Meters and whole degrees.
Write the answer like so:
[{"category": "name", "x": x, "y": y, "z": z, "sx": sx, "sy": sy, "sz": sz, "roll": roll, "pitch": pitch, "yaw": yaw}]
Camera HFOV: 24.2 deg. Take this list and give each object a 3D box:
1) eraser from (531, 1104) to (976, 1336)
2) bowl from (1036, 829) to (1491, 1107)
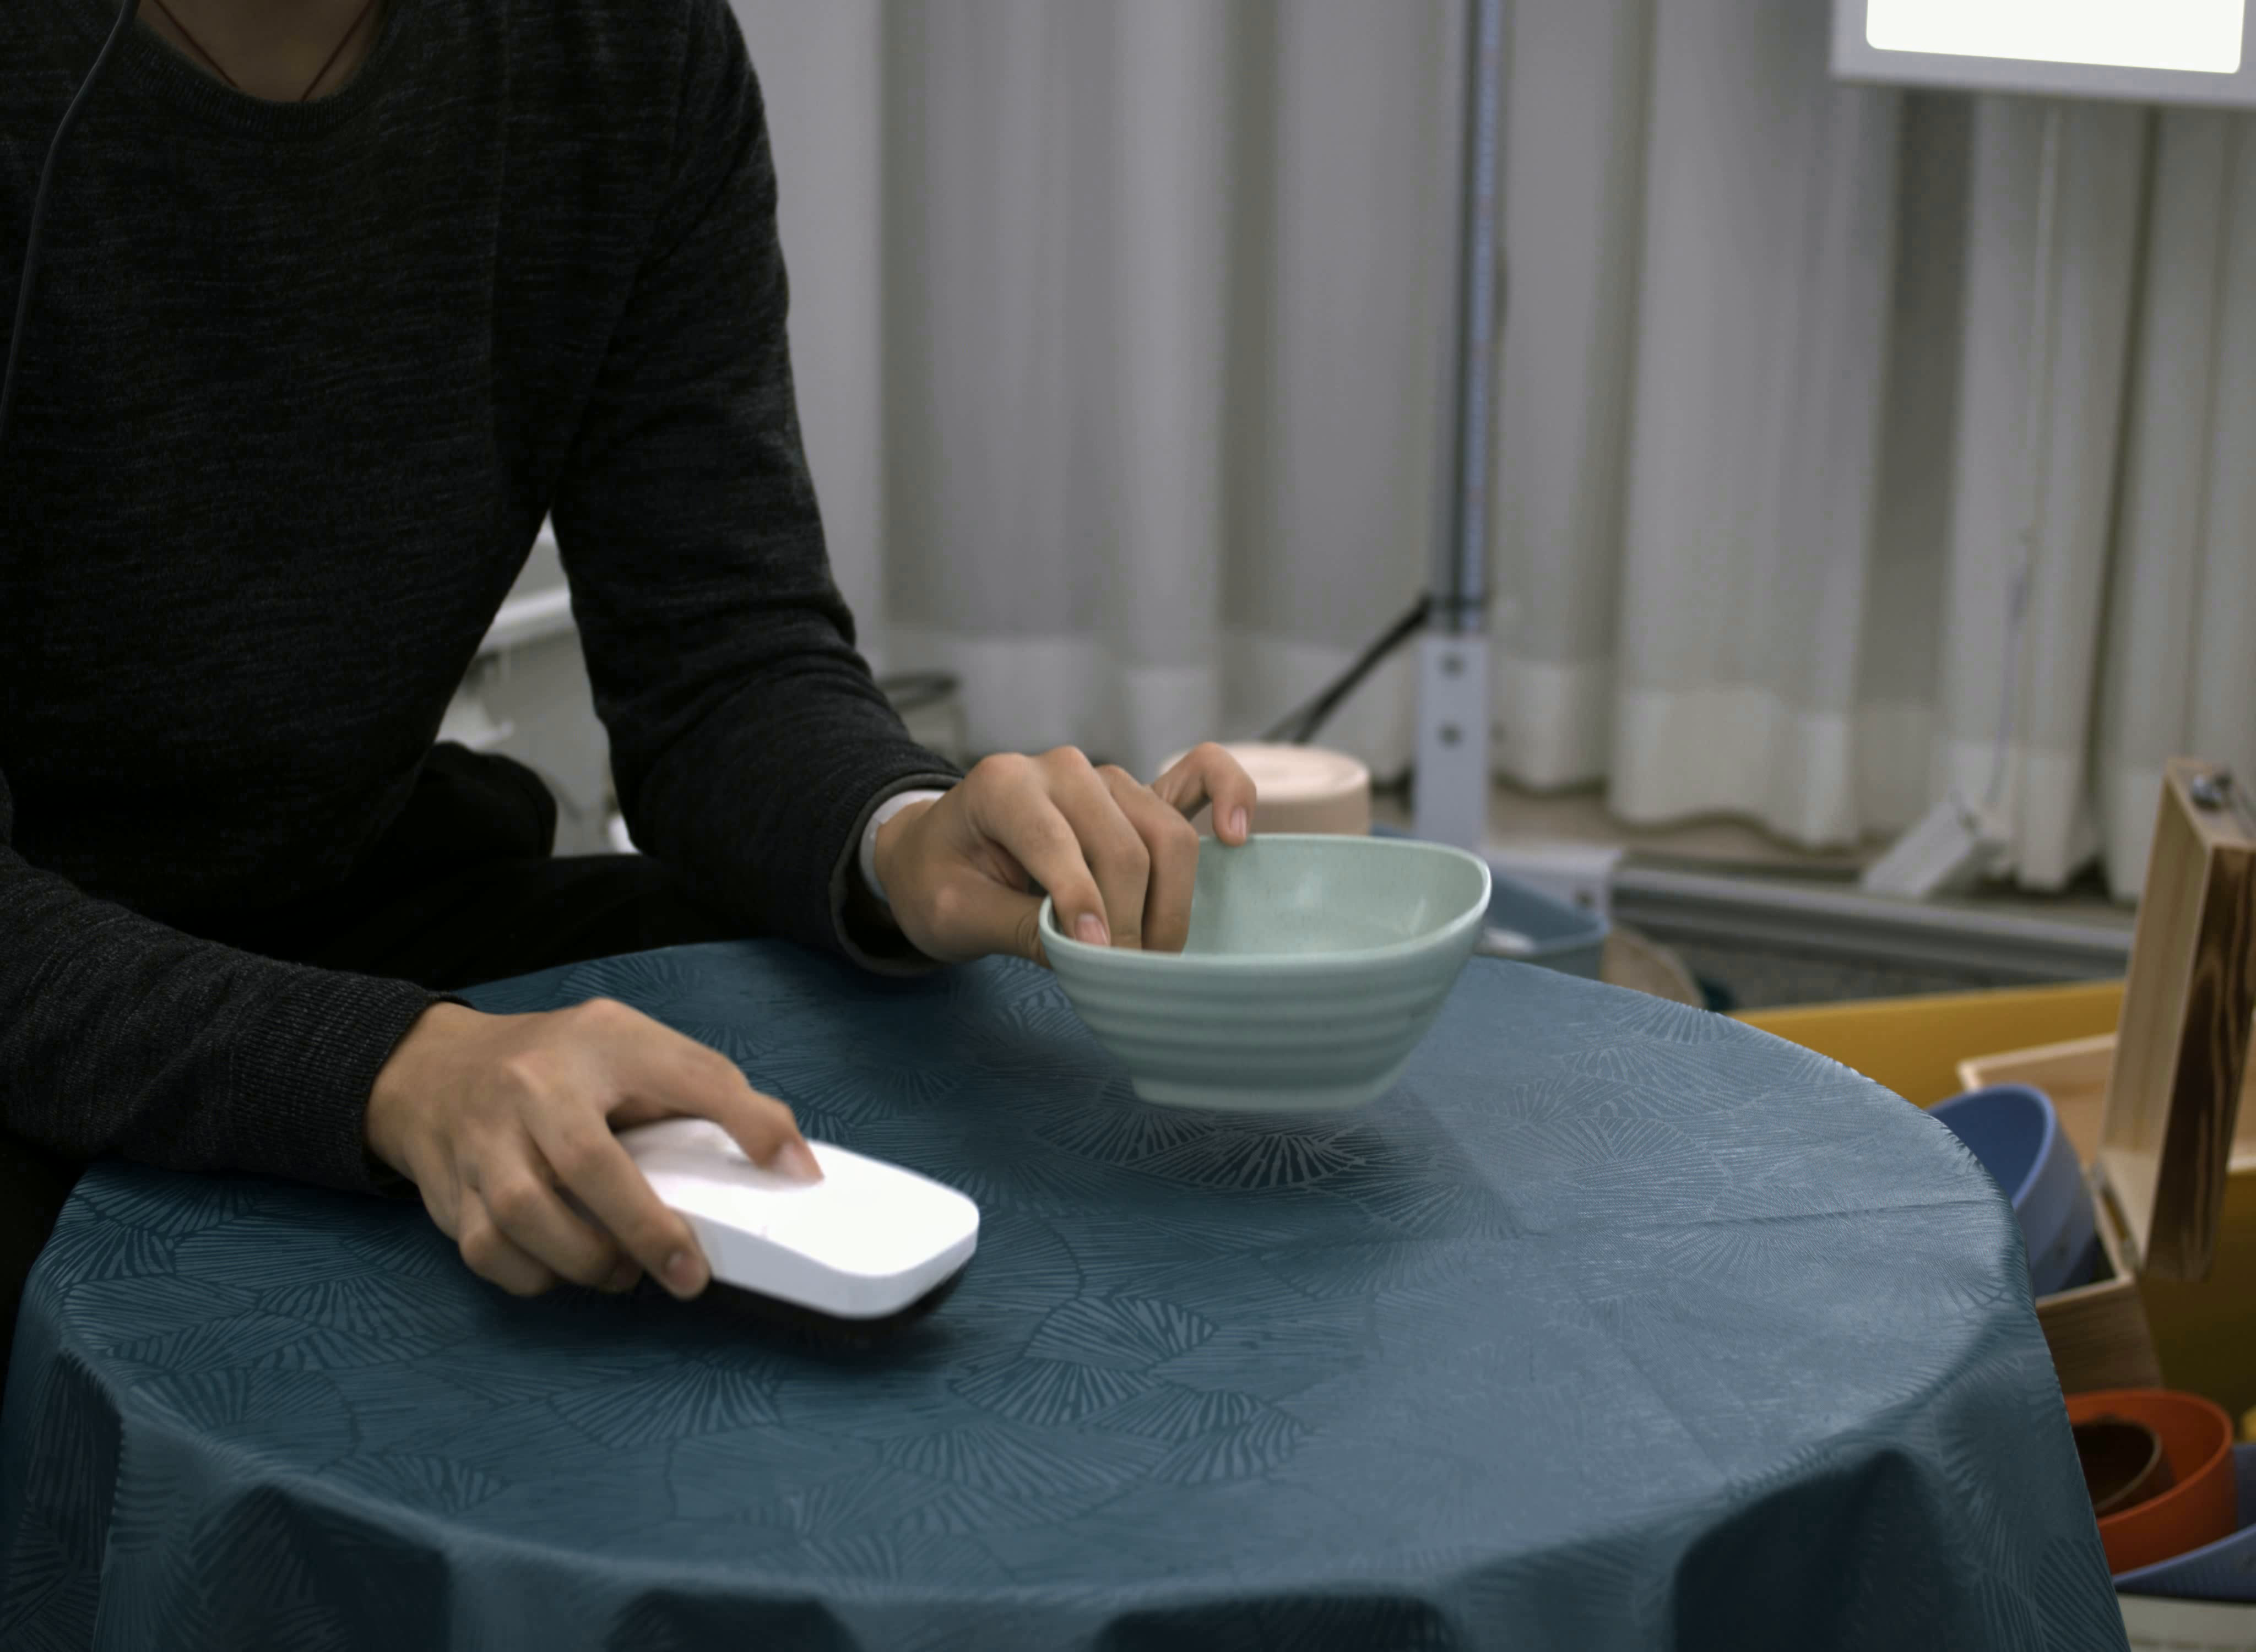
[{"category": "eraser", "x": -0.107, "y": 0.109, "z": 1.508, "sx": 0.129, "sy": 0.035, "sz": 0.063, "roll": 14, "pitch": 23, "yaw": 33}, {"category": "bowl", "x": 0.043, "y": 0.047, "z": 1.643, "sx": 0.151, "sy": 0.059, "sz": 0.150, "roll": -1, "pitch": 15, "yaw": 1}]
